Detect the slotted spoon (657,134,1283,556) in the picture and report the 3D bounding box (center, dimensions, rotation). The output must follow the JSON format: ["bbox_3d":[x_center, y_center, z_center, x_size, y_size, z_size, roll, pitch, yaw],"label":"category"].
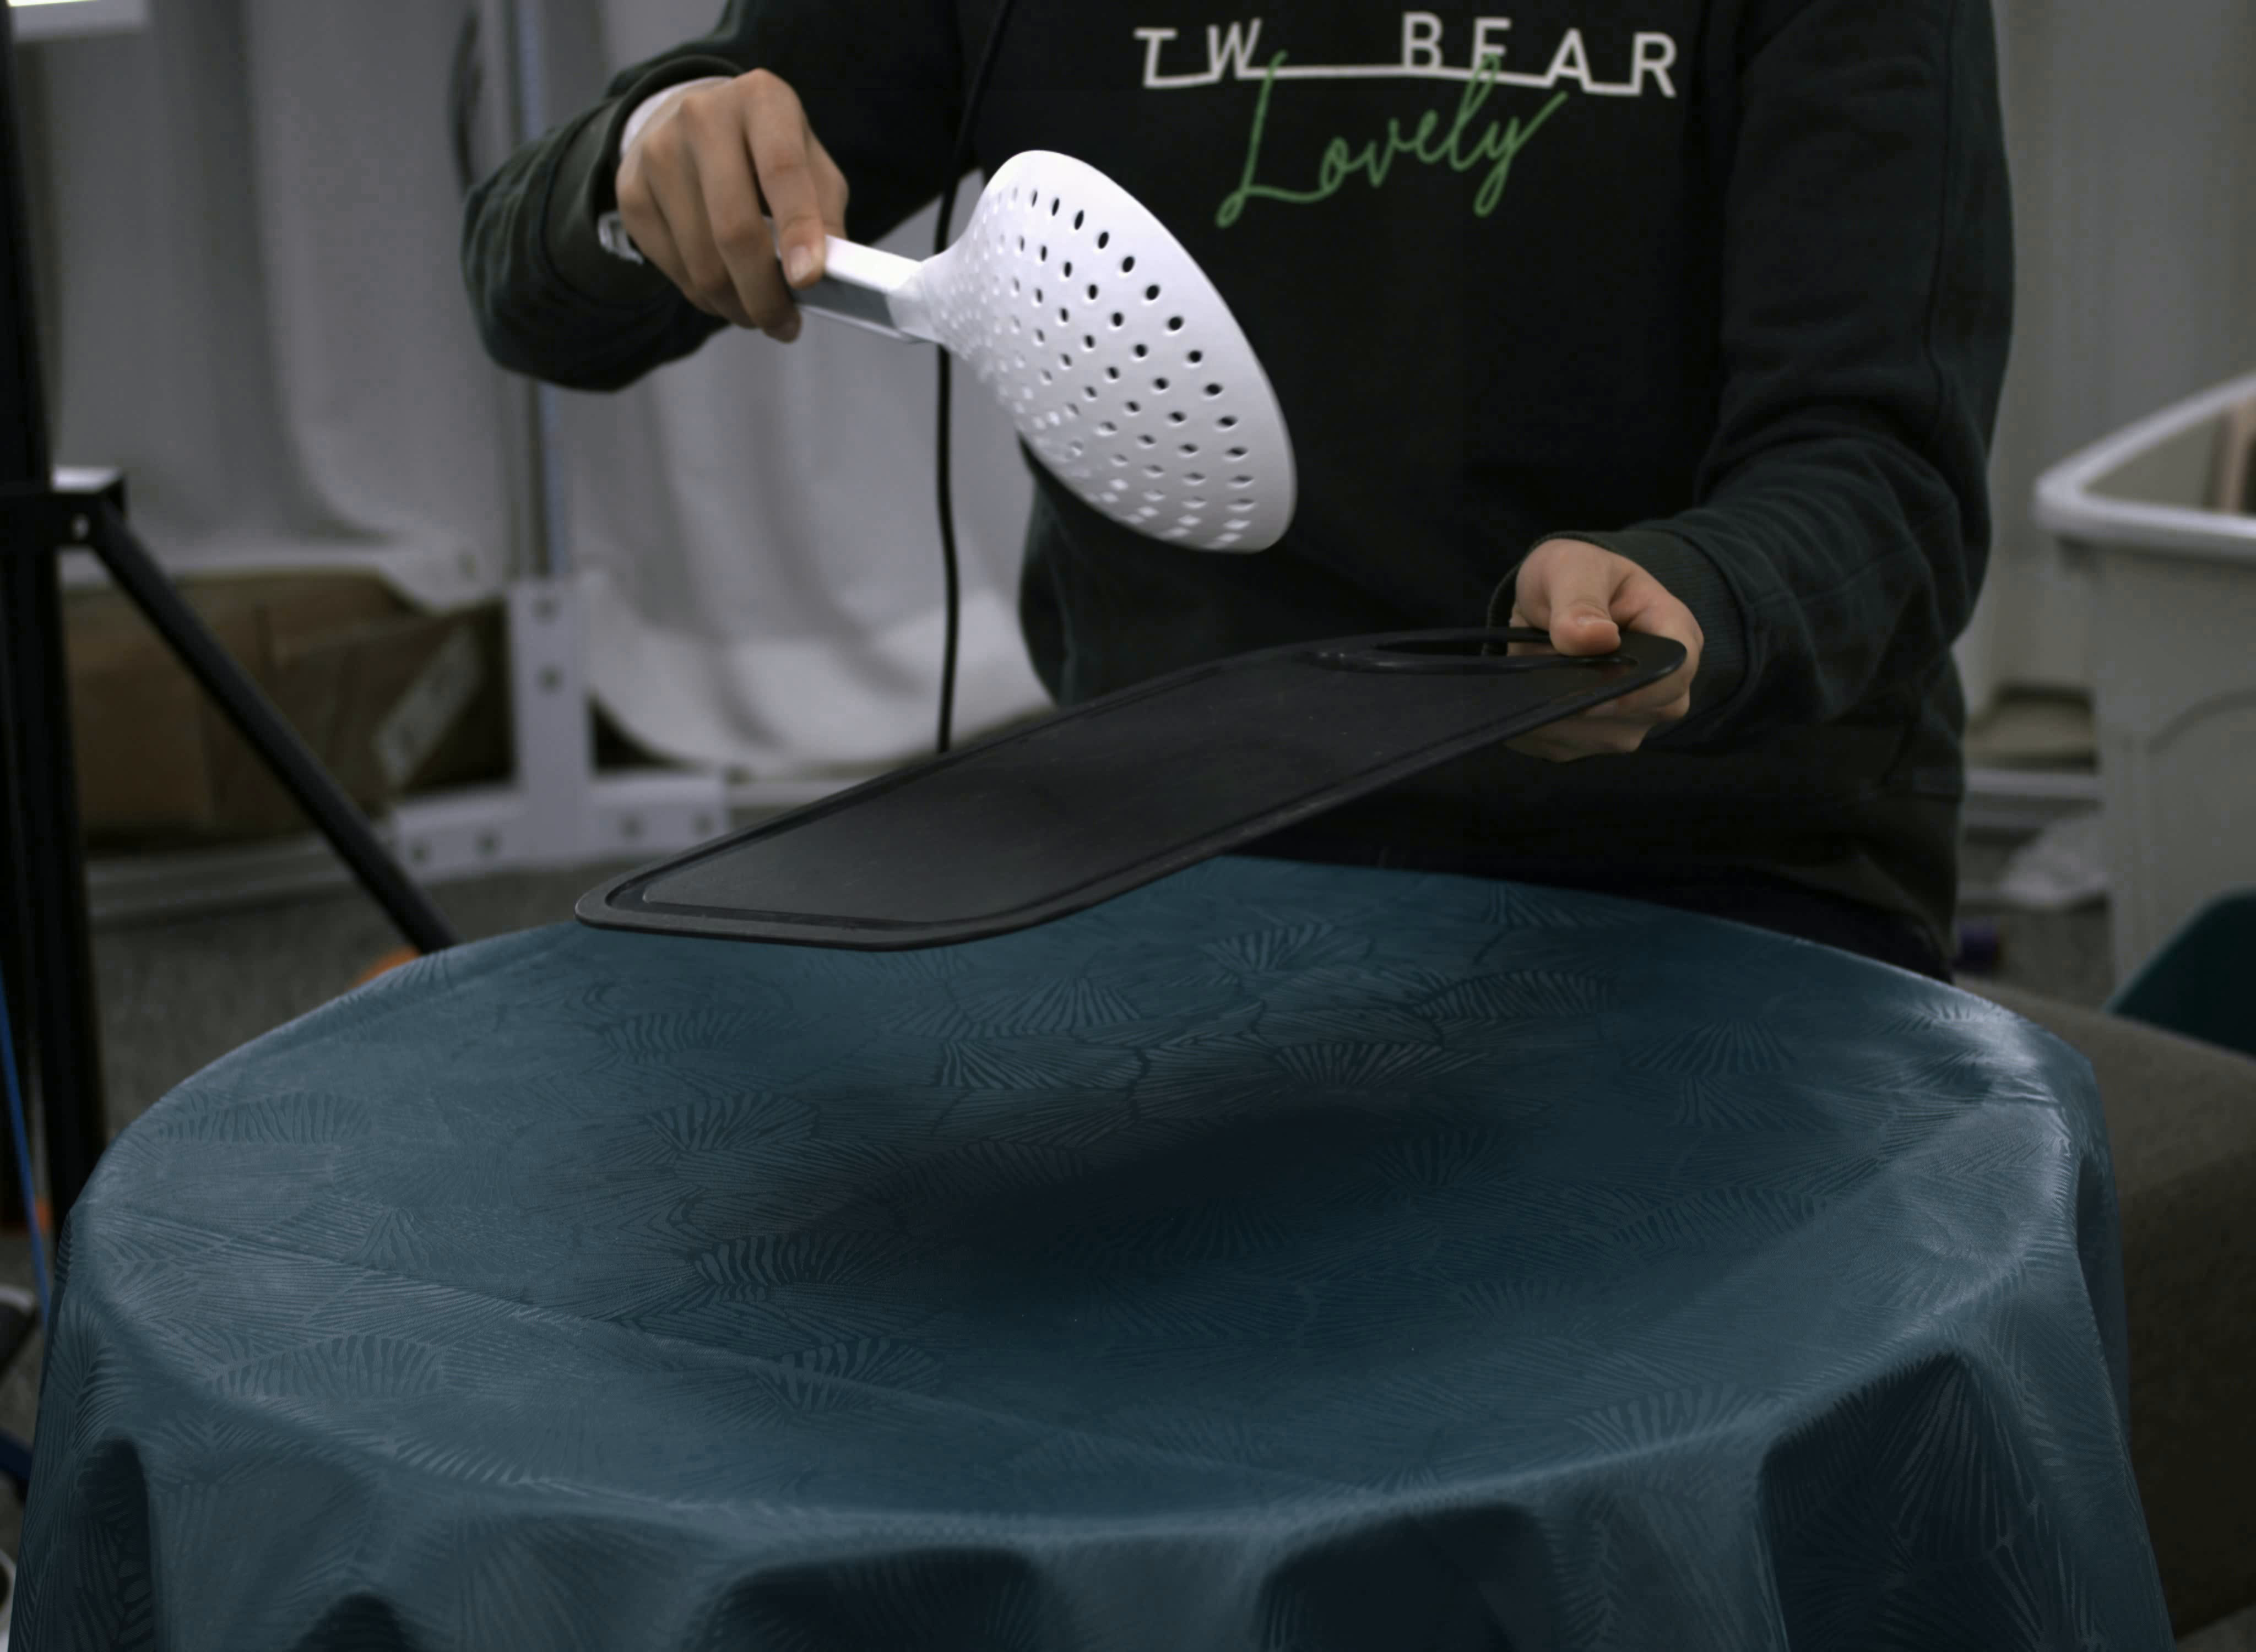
[{"bbox_3d":[-0.060,-0.161,1.652,0.045,0.135,0.357,-28,26,-18],"label":"slotted spoon"}]

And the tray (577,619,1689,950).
[{"bbox_3d":[0.009,-0.018,1.554,0.318,0.010,0.215,-21,15,-36],"label":"tray"}]
